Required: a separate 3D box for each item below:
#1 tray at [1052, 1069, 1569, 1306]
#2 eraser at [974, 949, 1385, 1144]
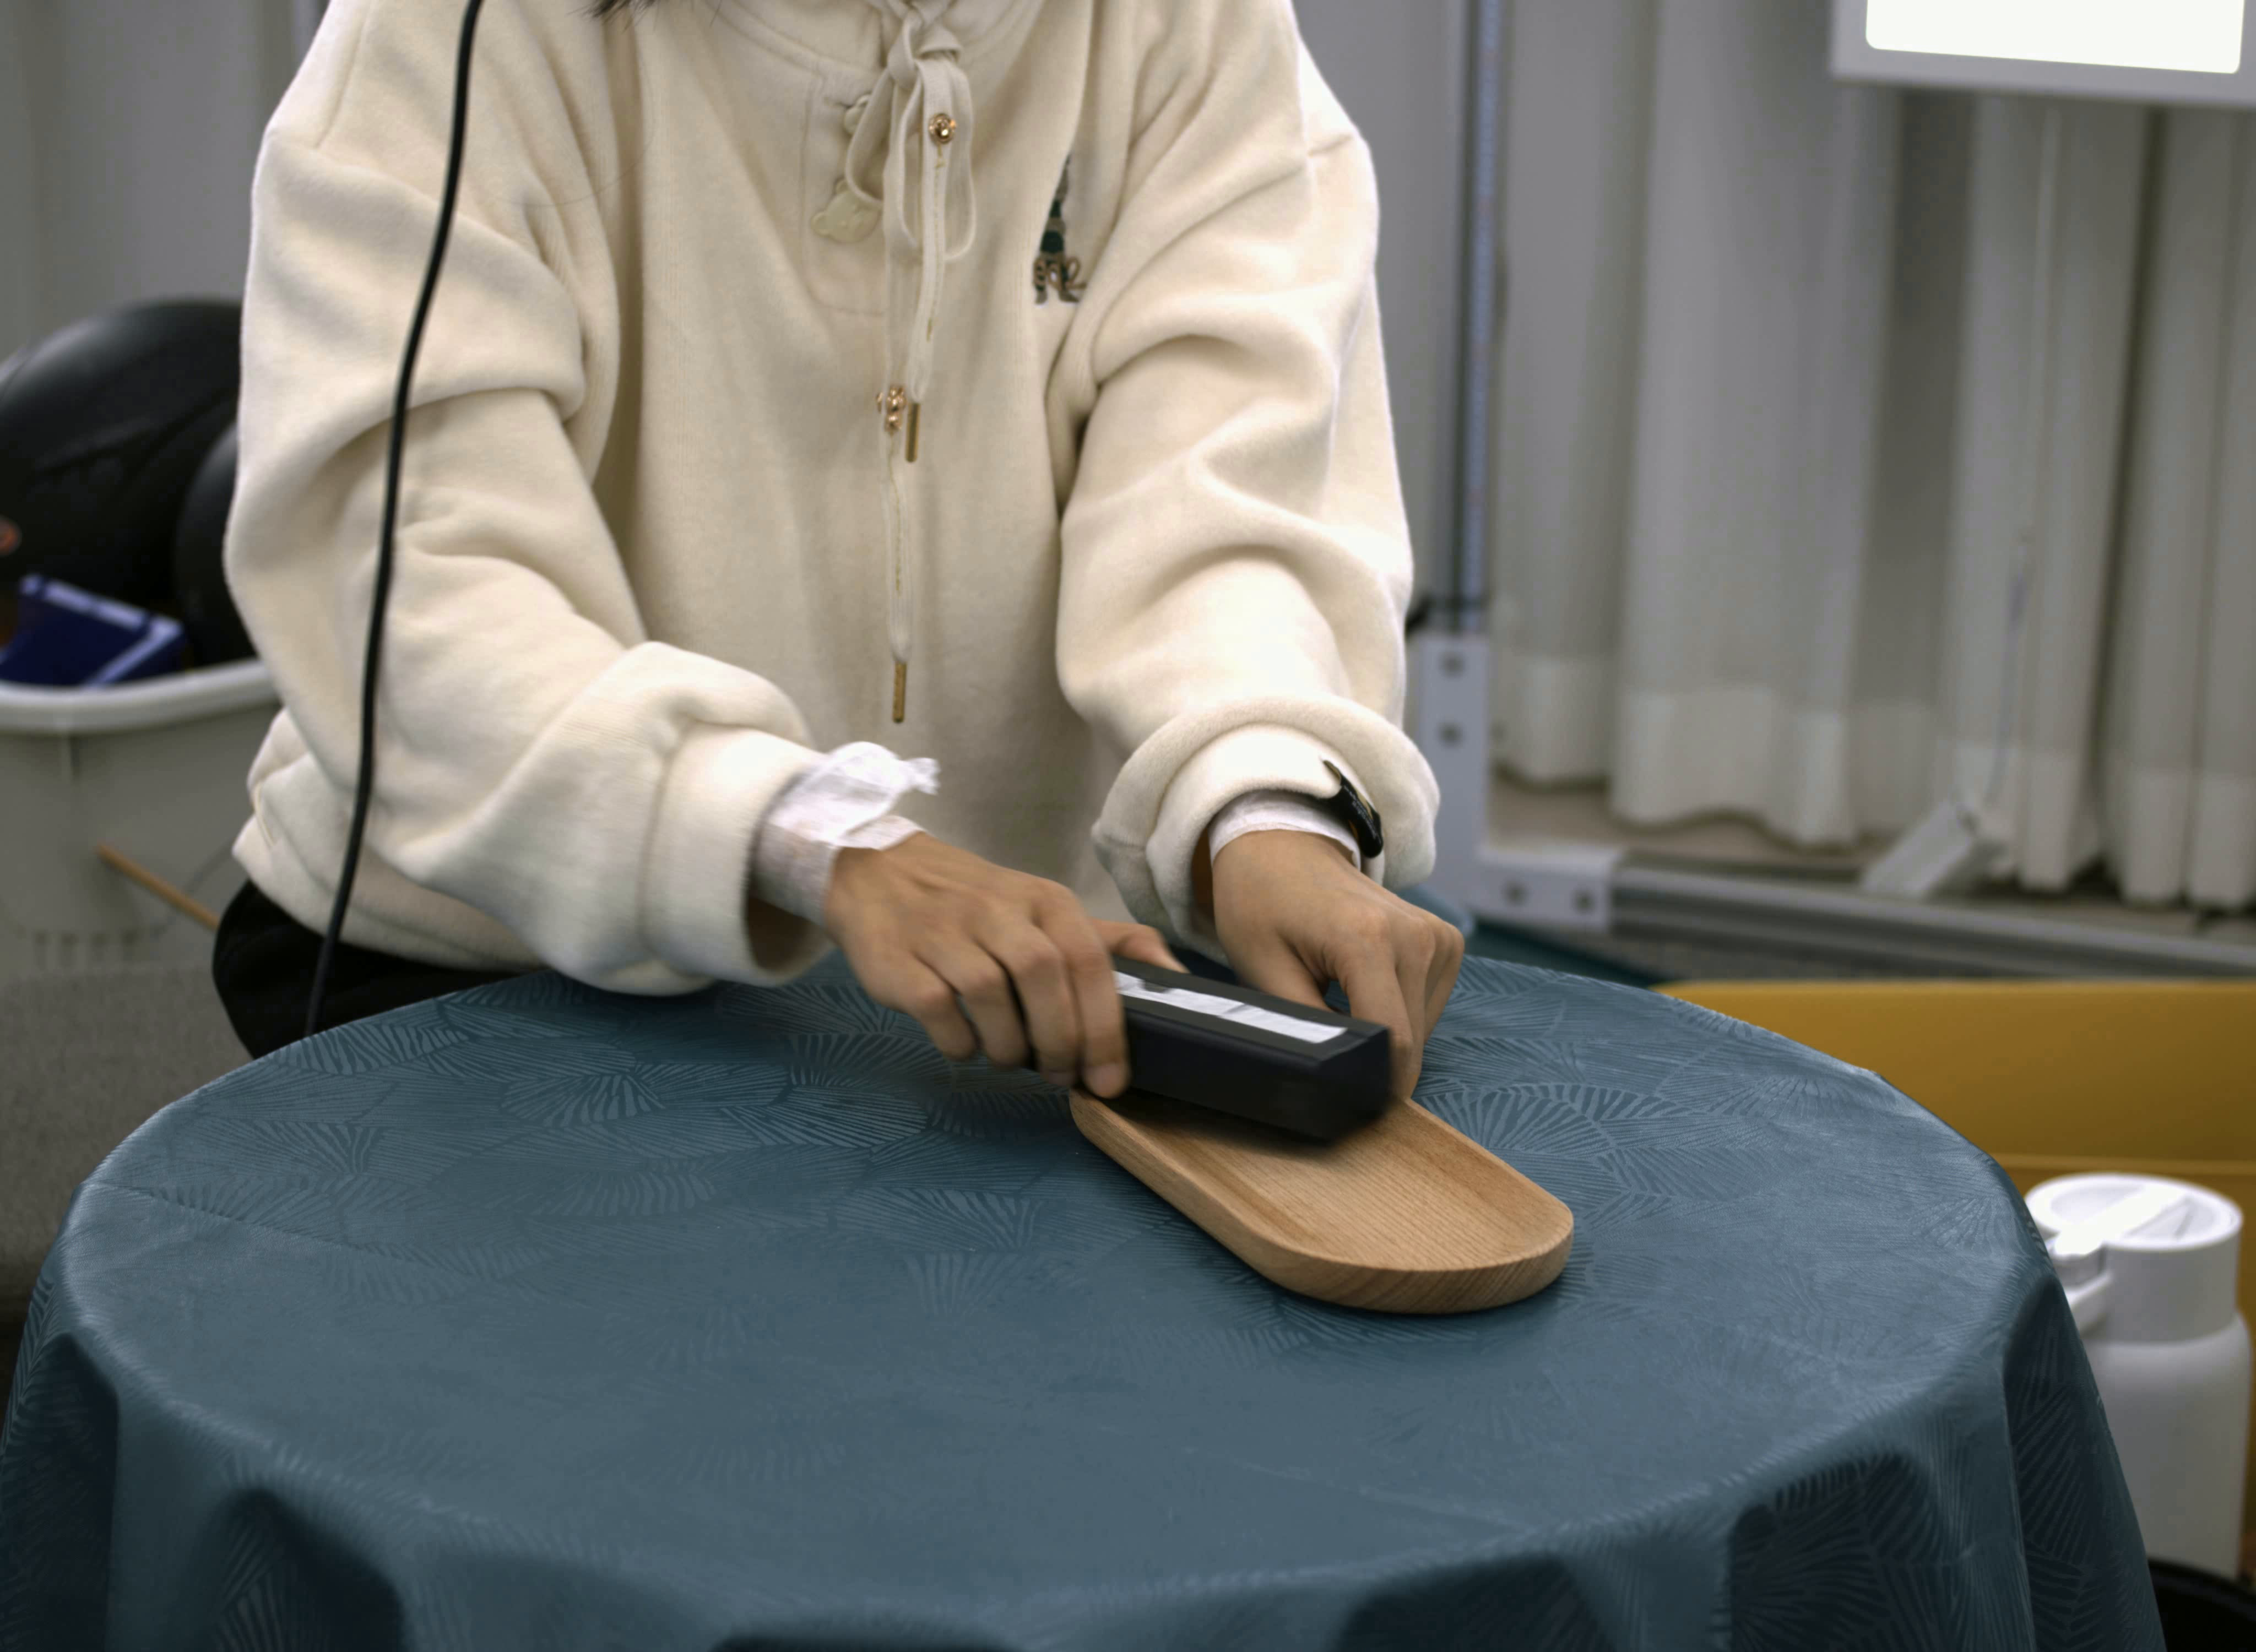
[{"bbox_3d":[0.053,0.105,1.618,0.102,0.020,0.228,-4,14,-24],"label":"tray"},{"bbox_3d":[0.016,0.069,1.671,0.124,0.030,0.054,15,14,27],"label":"eraser"}]
